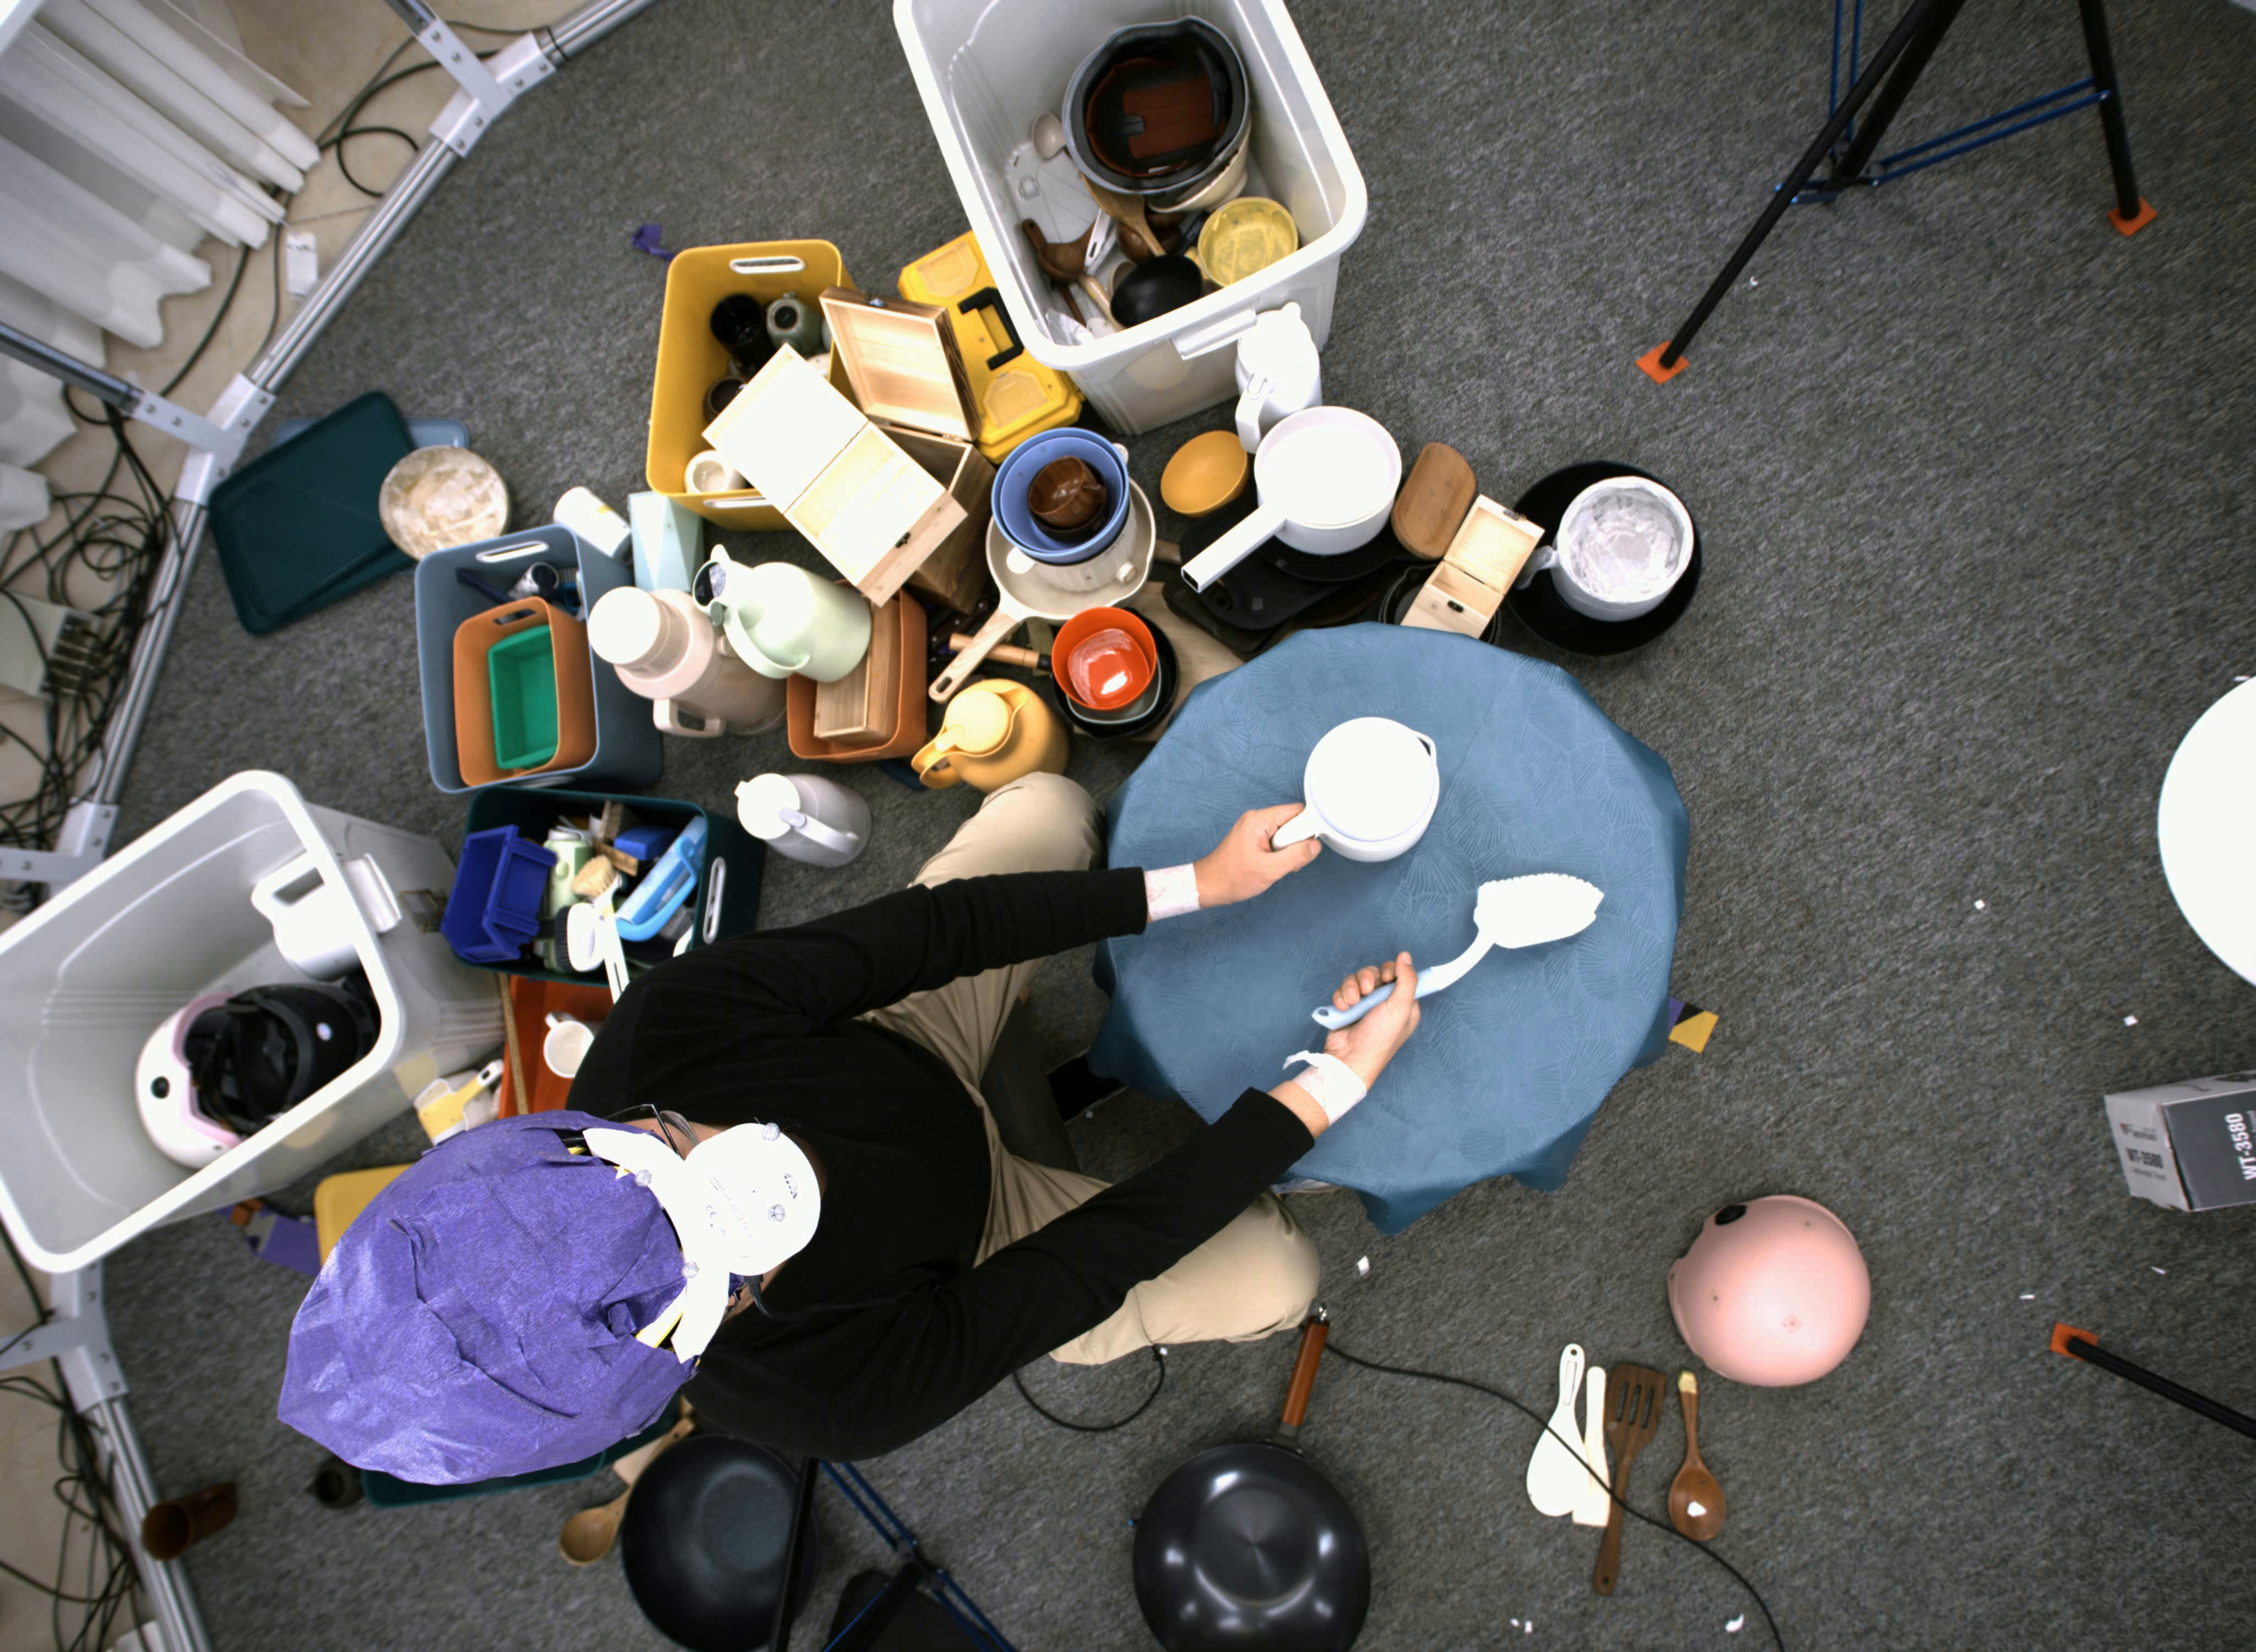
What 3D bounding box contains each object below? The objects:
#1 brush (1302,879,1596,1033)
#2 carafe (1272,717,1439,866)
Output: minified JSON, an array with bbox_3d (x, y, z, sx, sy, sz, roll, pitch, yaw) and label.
[{"bbox_3d":[0.320,0.115,1.369,0.324,0.084,0.084,-19,84,-8],"label":"brush"},{"bbox_3d":[0.223,-0.022,1.387,0.192,0.182,0.131,-35,80,7],"label":"carafe"}]
